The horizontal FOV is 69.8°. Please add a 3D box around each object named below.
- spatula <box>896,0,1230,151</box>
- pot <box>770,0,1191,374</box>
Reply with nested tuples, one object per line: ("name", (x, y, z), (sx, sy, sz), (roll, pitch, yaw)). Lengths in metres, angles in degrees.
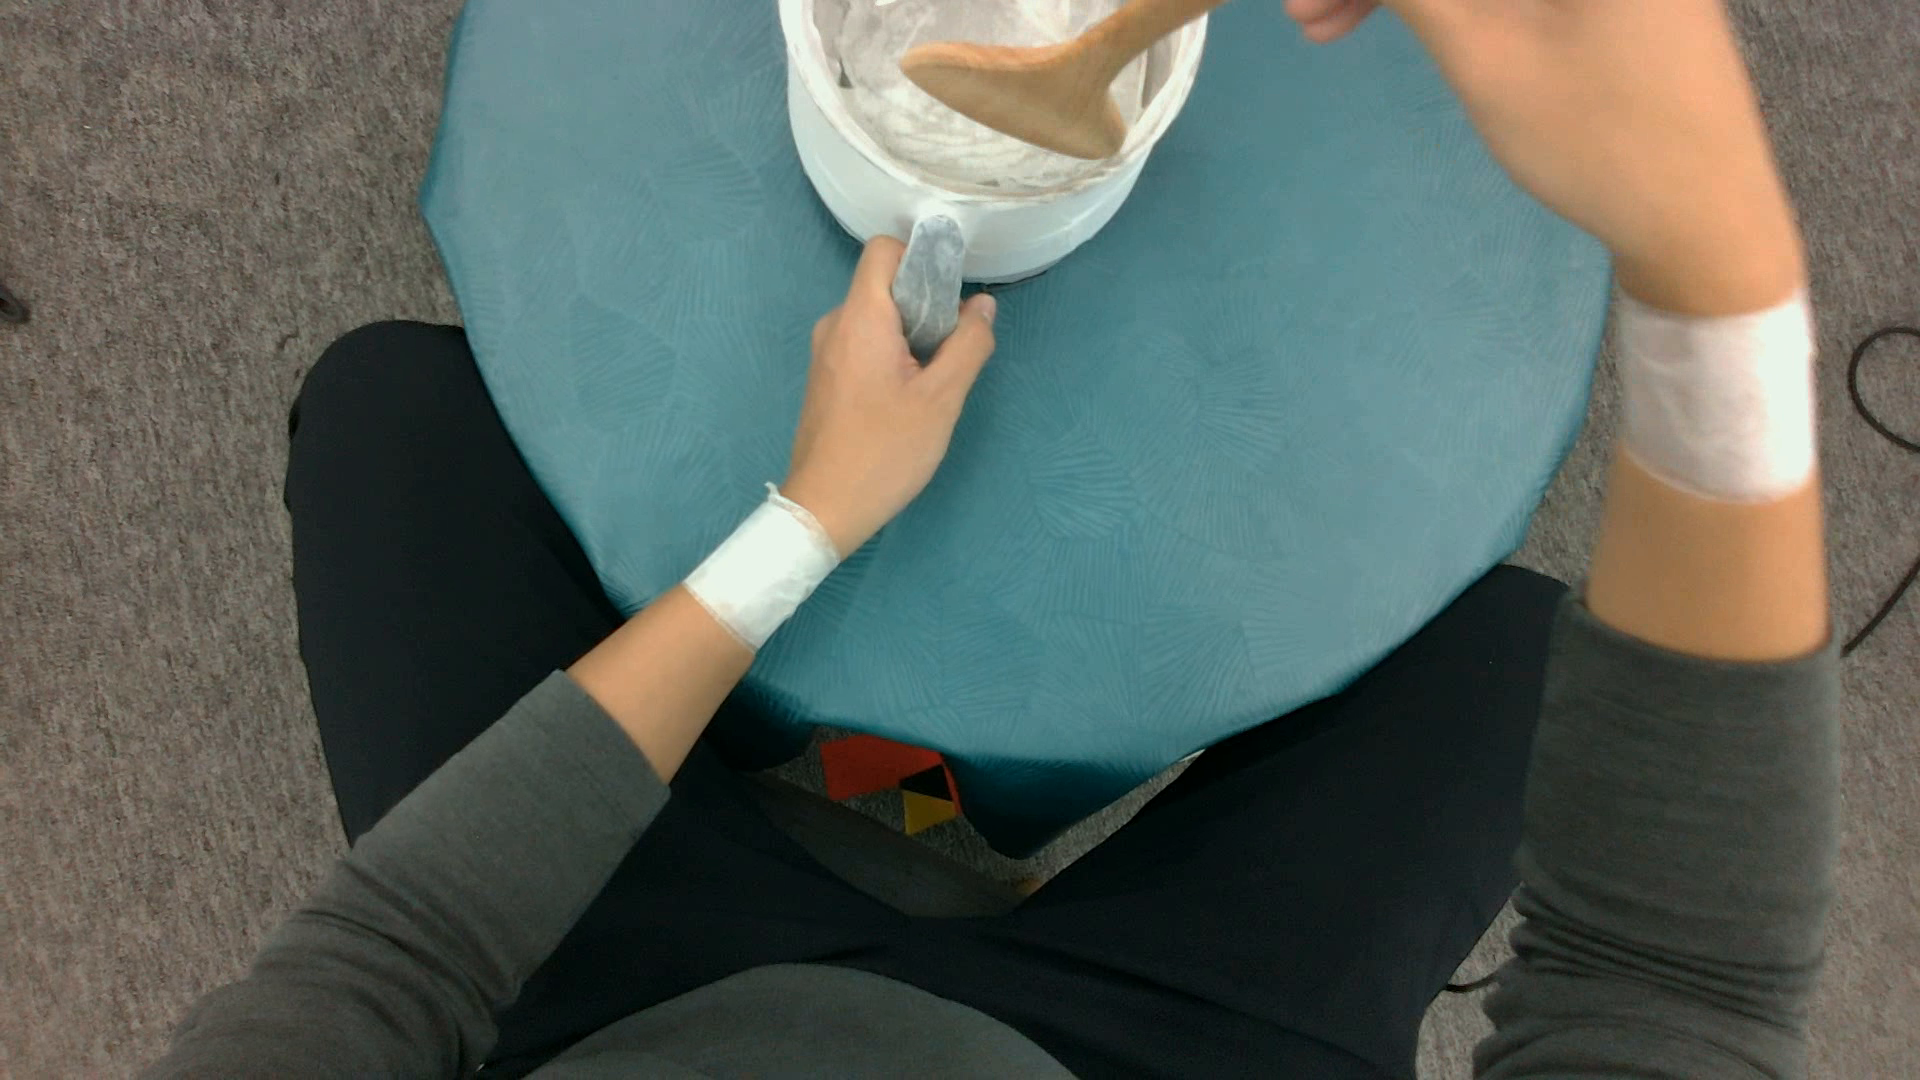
("spatula", (0.075, -0.165, 0.414), (0.096, 0.390, 0.018), (18, 88, -21))
("pot", (-0.003, -0.196, 0.628), (0.179, 0.136, 0.234), (13, 84, -5))
